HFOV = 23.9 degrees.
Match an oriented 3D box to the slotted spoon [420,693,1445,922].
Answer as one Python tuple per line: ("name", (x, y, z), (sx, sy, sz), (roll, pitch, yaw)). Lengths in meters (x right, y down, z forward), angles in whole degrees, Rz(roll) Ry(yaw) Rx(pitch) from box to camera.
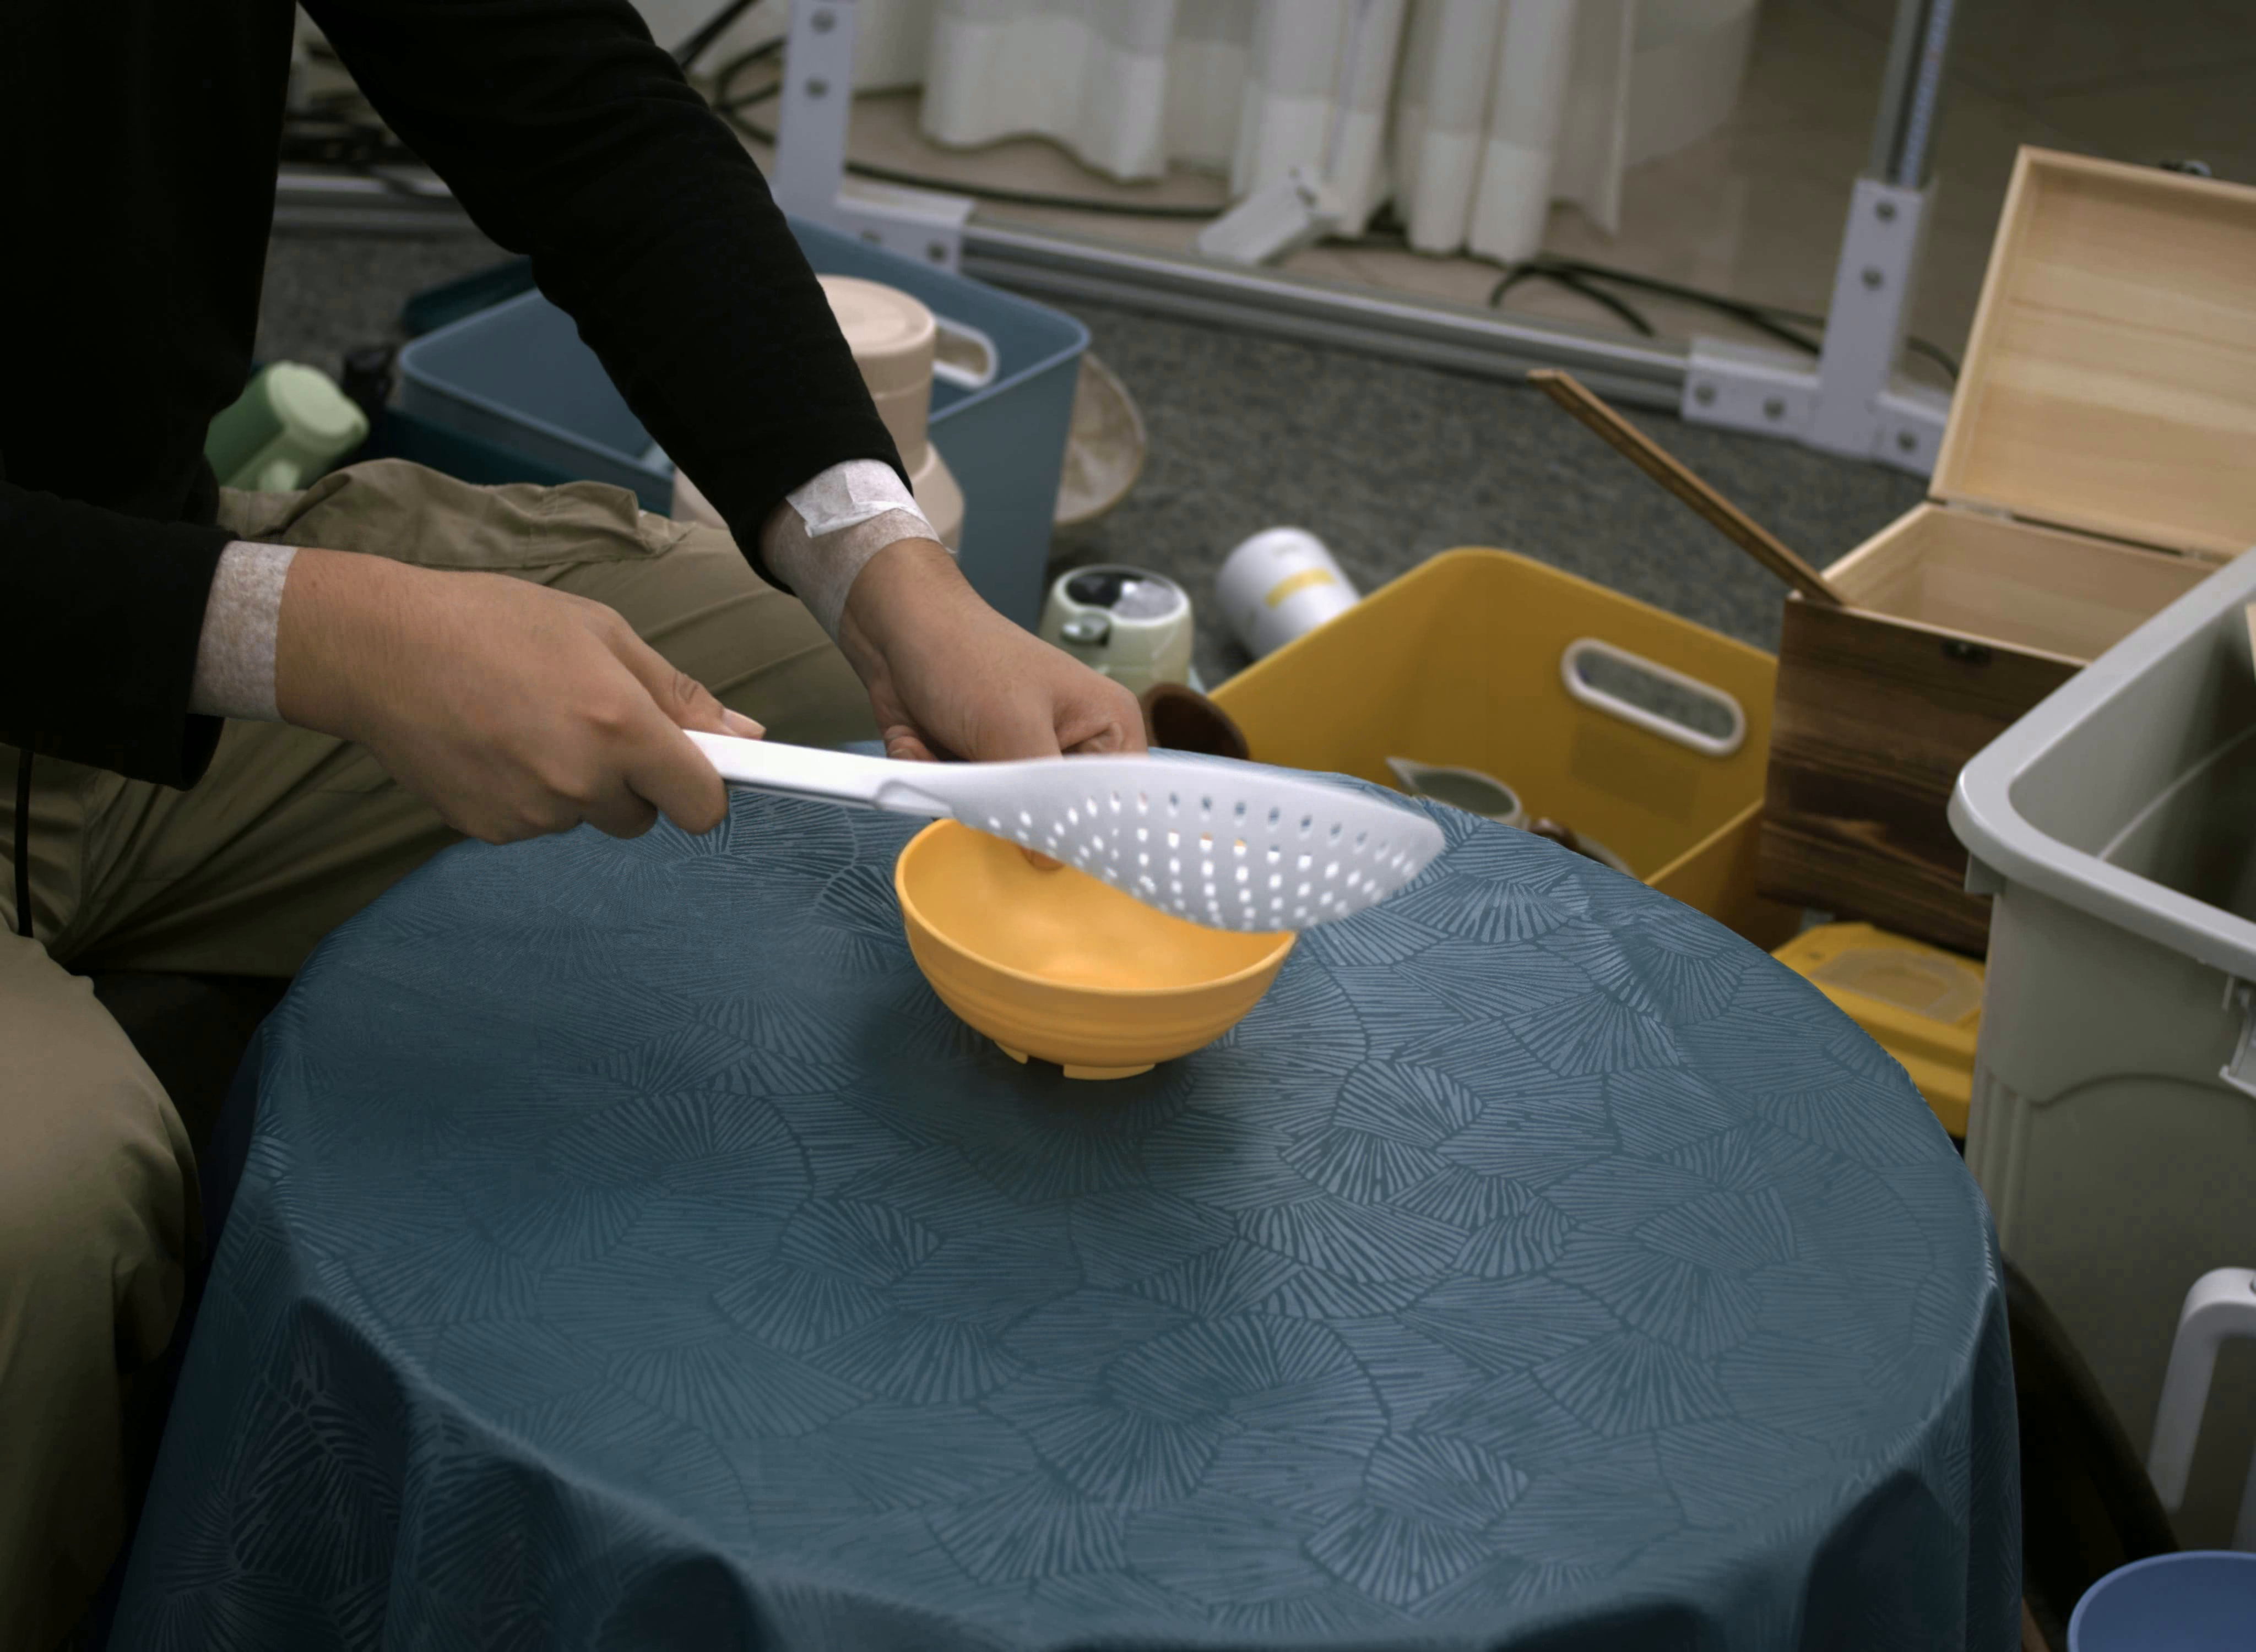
("slotted spoon", (-0.069, -0.015, 1.774), (0.350, 0.046, 0.135), (12, -13, 13))

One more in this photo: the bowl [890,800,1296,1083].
("bowl", (-0.016, 0.049, 1.883), (0.145, 0.060, 0.146), (7, 27, -4))
